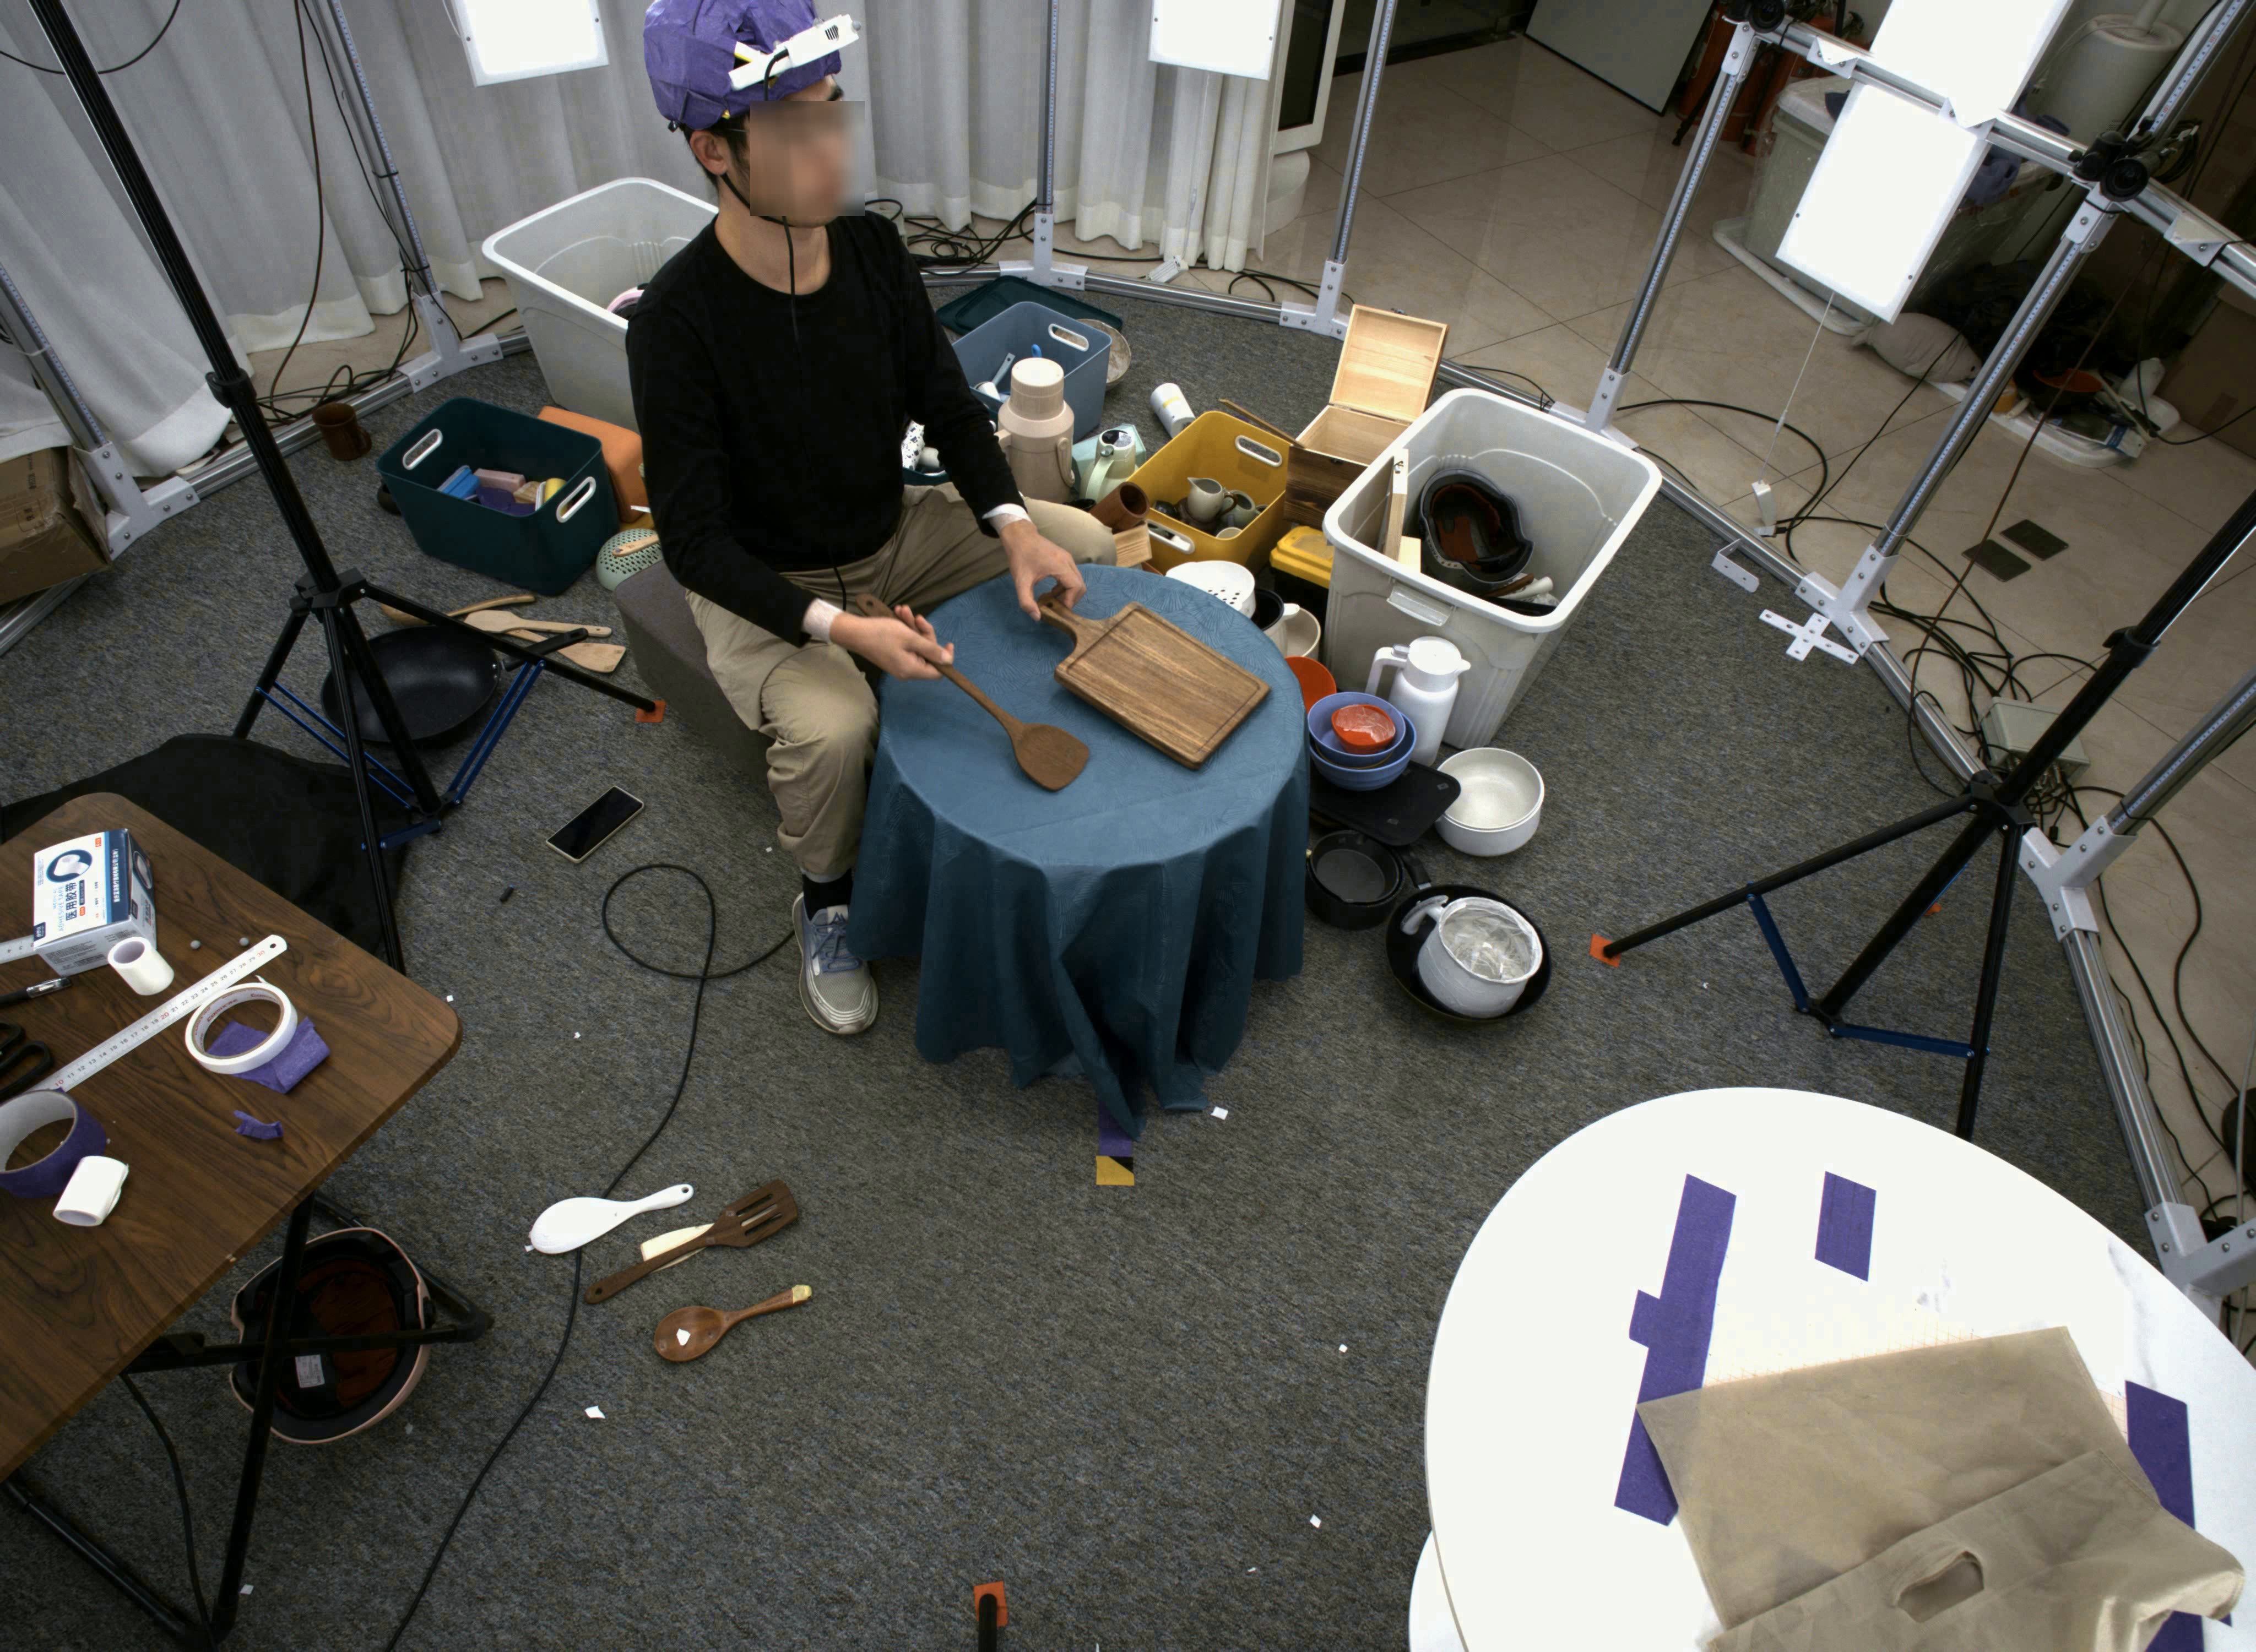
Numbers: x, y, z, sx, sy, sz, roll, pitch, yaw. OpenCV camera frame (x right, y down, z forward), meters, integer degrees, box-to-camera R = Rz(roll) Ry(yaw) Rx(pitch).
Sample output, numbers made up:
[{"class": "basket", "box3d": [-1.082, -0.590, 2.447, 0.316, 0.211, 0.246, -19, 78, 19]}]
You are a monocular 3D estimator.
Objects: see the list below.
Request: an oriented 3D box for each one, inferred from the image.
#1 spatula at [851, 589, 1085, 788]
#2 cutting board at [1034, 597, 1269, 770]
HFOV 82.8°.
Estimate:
[{"class": "spatula", "box3d": [-0.221, -0.193, 1.731, 0.386, 0.015, 0.097, 40, 56, 1]}, {"class": "cutting board", "box3d": [0.010, -0.232, 1.836, 0.355, 0.023, 0.204, 34, 55, 16]}]
